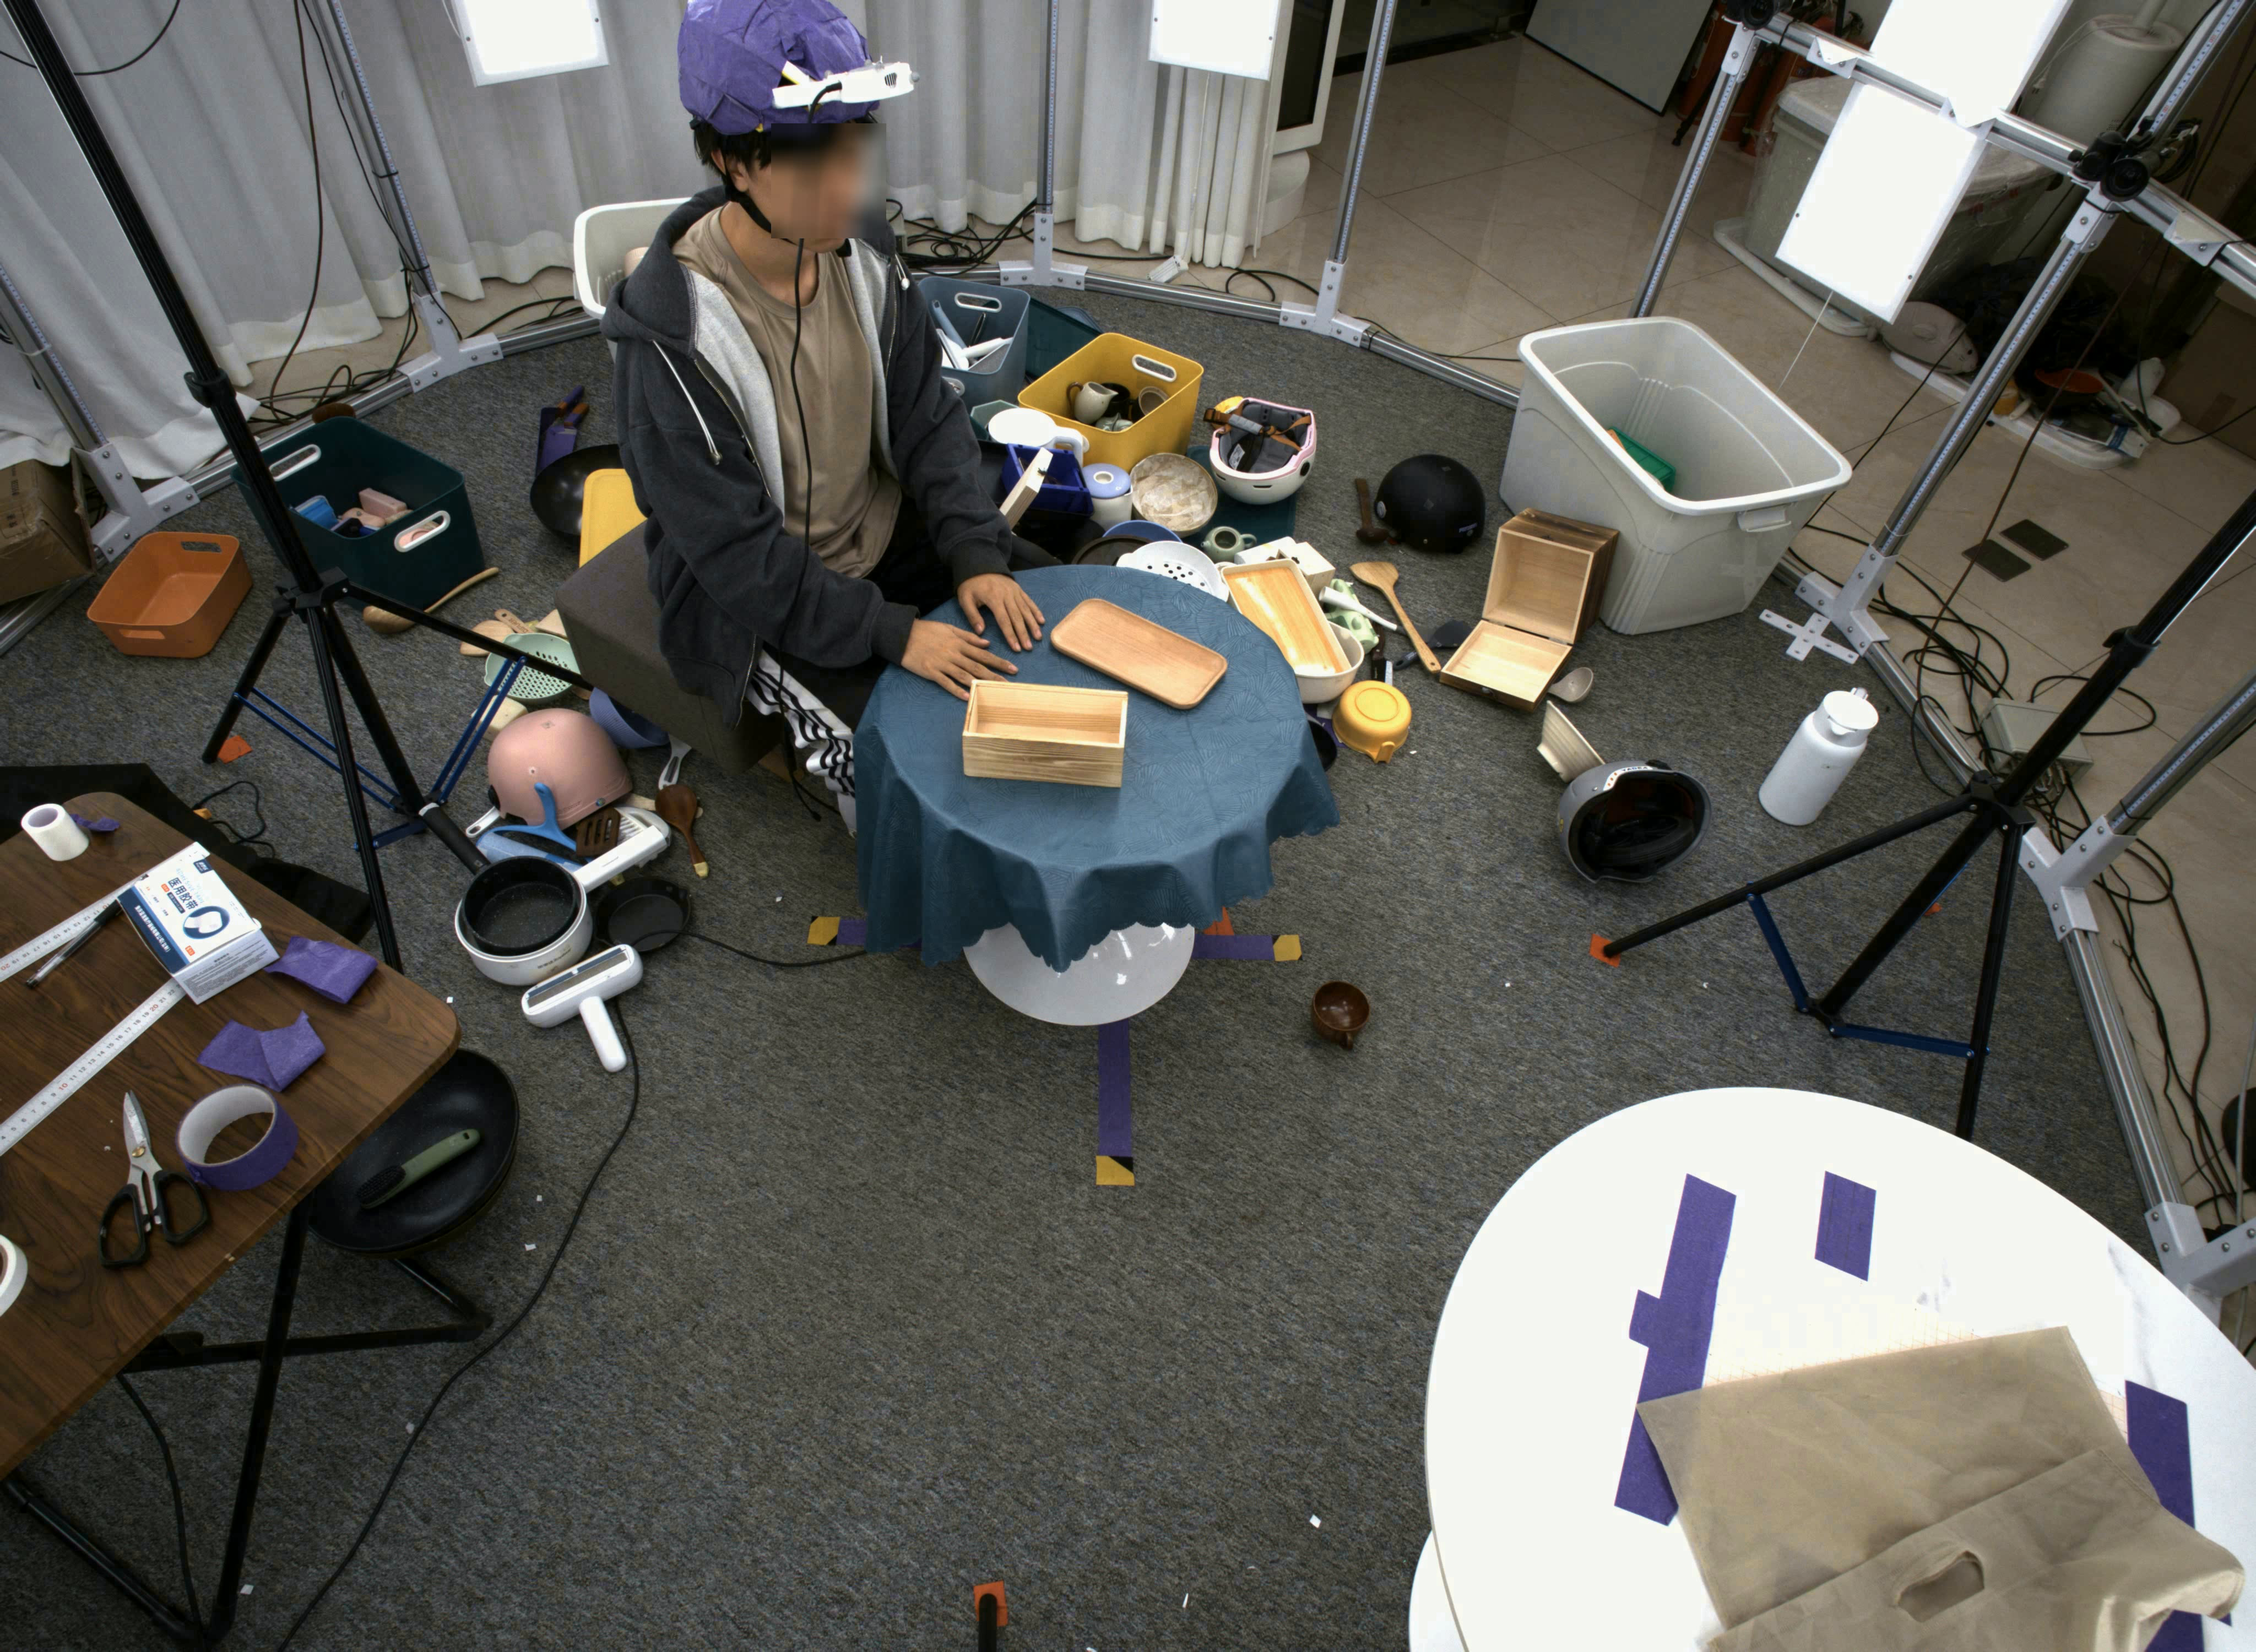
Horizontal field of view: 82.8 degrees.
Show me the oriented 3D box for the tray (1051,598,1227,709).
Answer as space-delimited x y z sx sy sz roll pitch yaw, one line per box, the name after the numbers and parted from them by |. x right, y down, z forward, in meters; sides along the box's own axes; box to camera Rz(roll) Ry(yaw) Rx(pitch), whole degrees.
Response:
0.015 -0.253 1.876 0.253 0.022 0.132 28 50 20 | tray

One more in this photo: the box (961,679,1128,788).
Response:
-0.110 -0.125 1.715 0.211 0.078 0.110 4 49 0 | box
